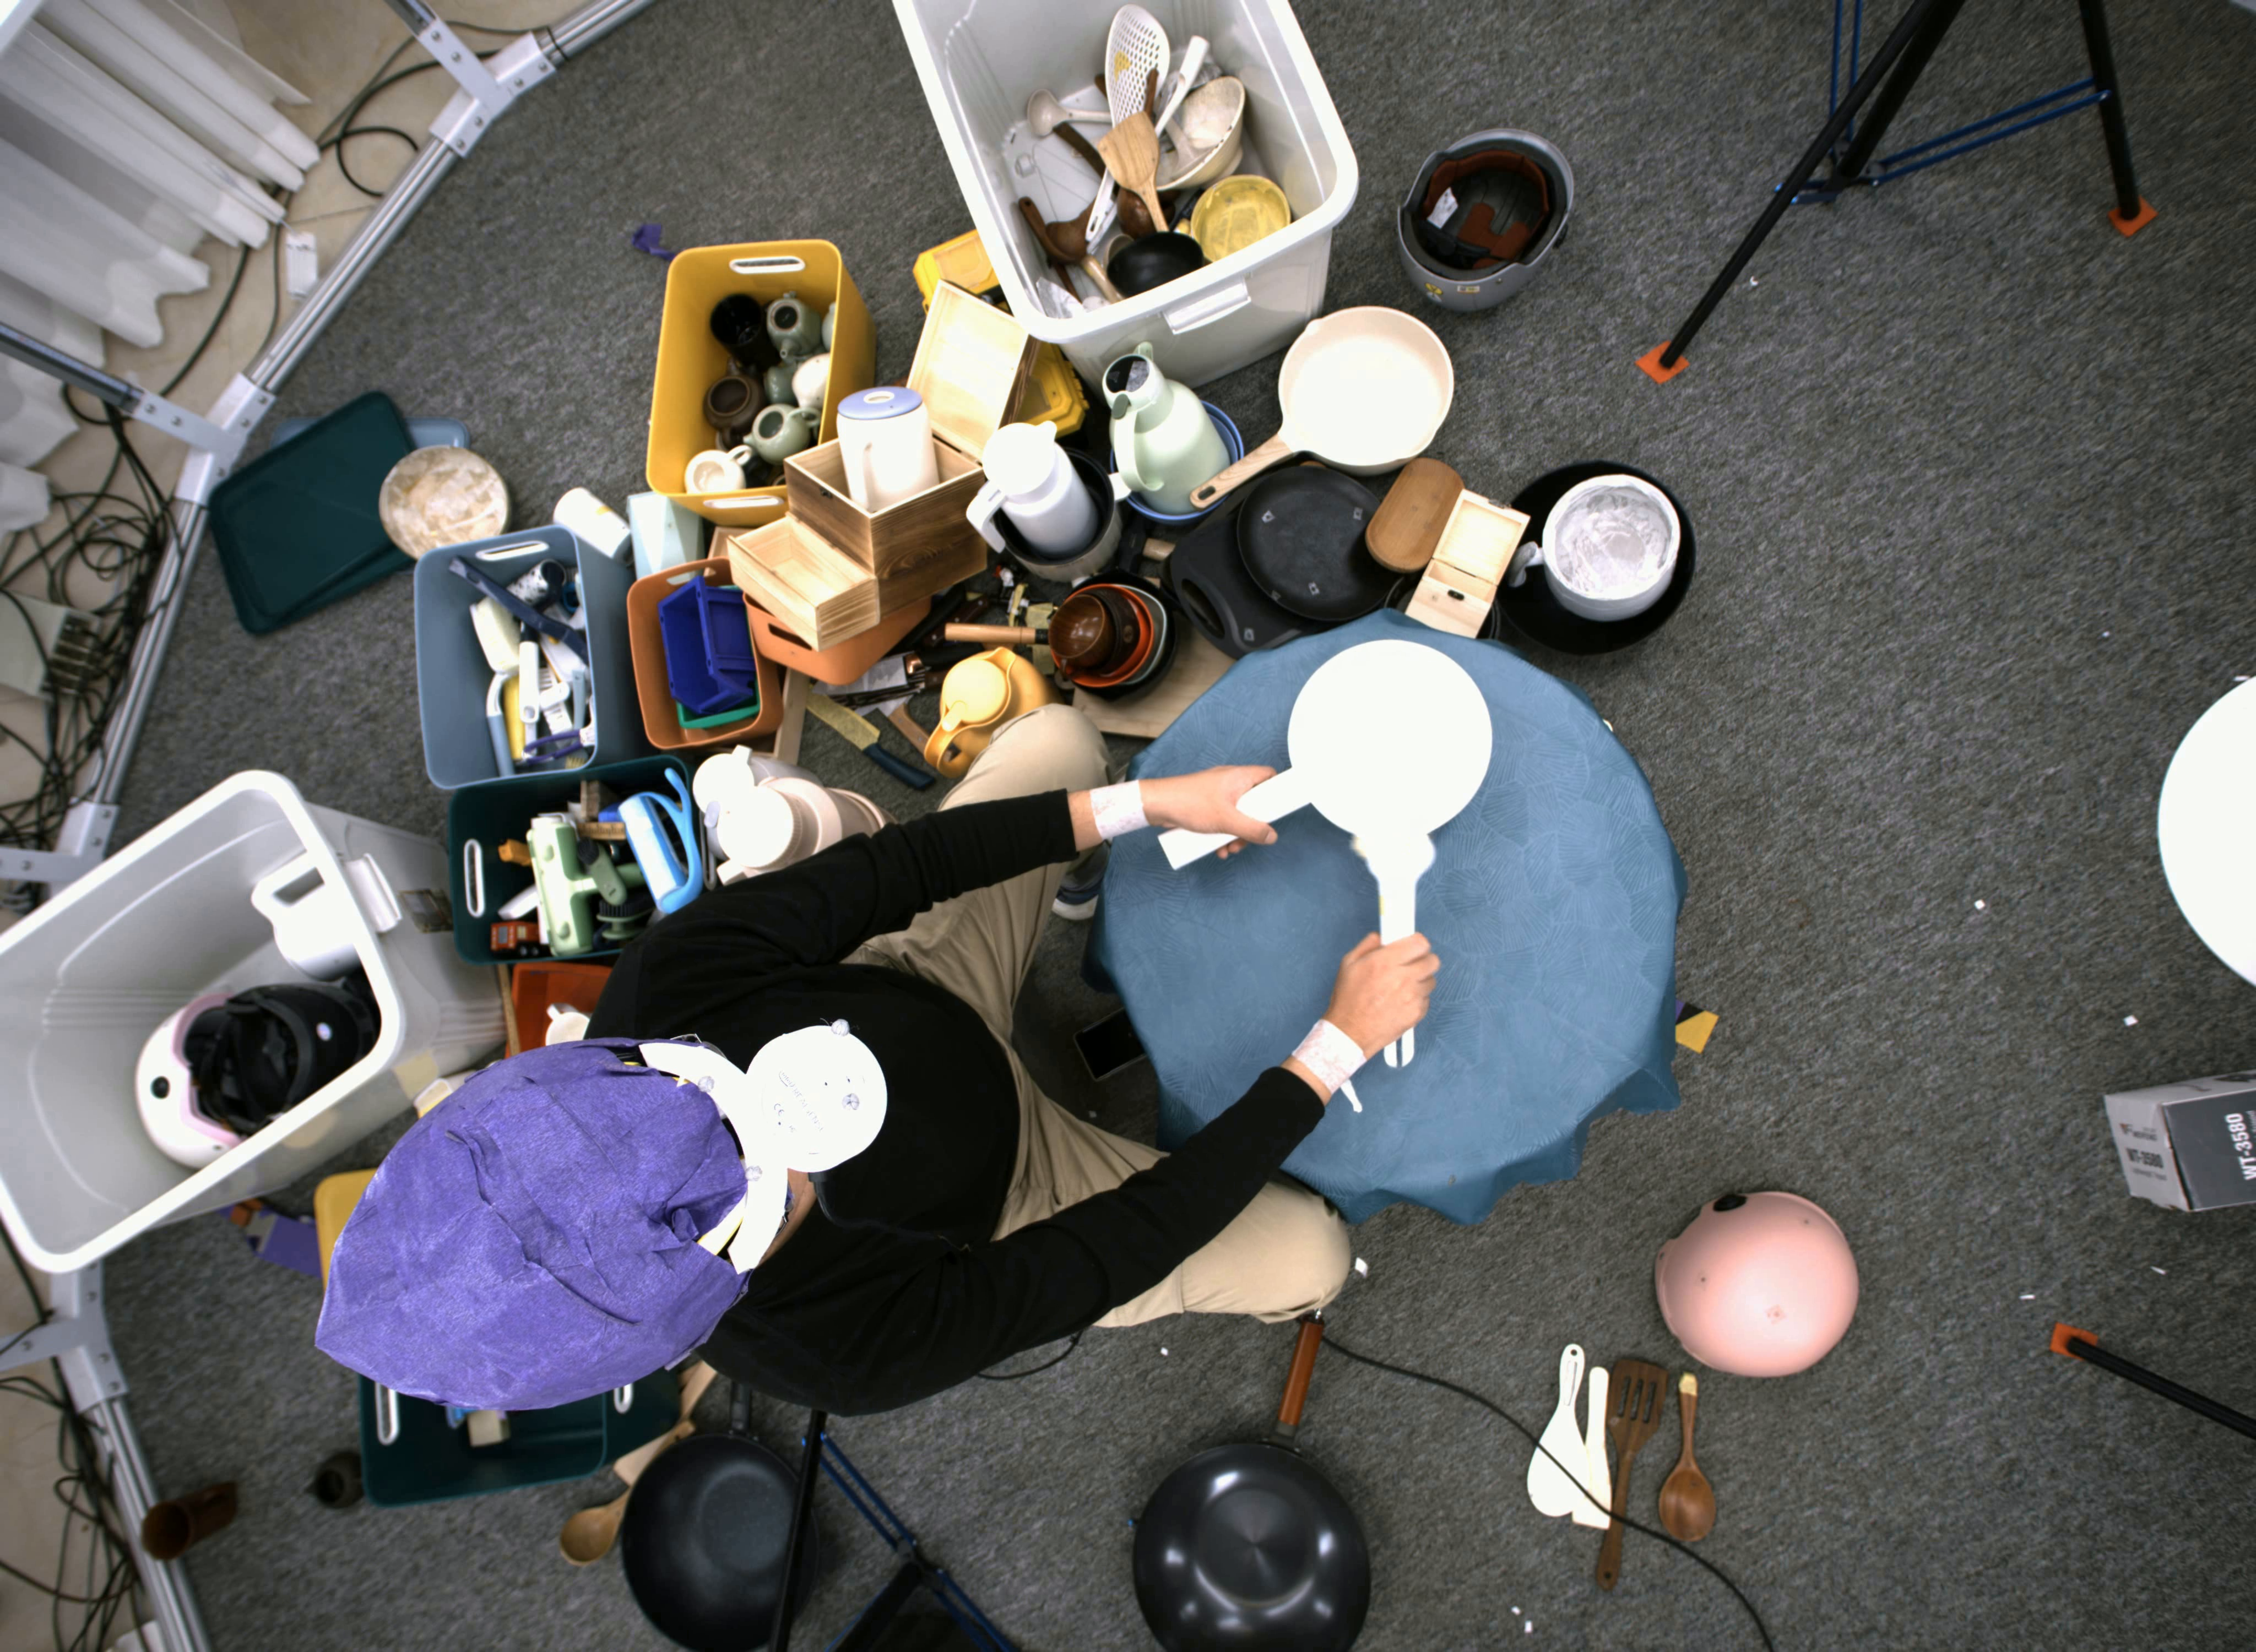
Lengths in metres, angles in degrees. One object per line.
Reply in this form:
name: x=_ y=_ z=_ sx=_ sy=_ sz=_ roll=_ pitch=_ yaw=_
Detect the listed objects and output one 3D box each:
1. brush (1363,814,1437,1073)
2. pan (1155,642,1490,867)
brush: x=0.264 y=0.114 z=1.356 sx=0.068 sy=0.055 sz=0.271 roll=-2 pitch=114 yaw=0
pan: x=0.200 y=-0.049 z=1.431 sx=0.357 sy=0.102 sz=0.200 roll=-27 pitch=83 yaw=9
